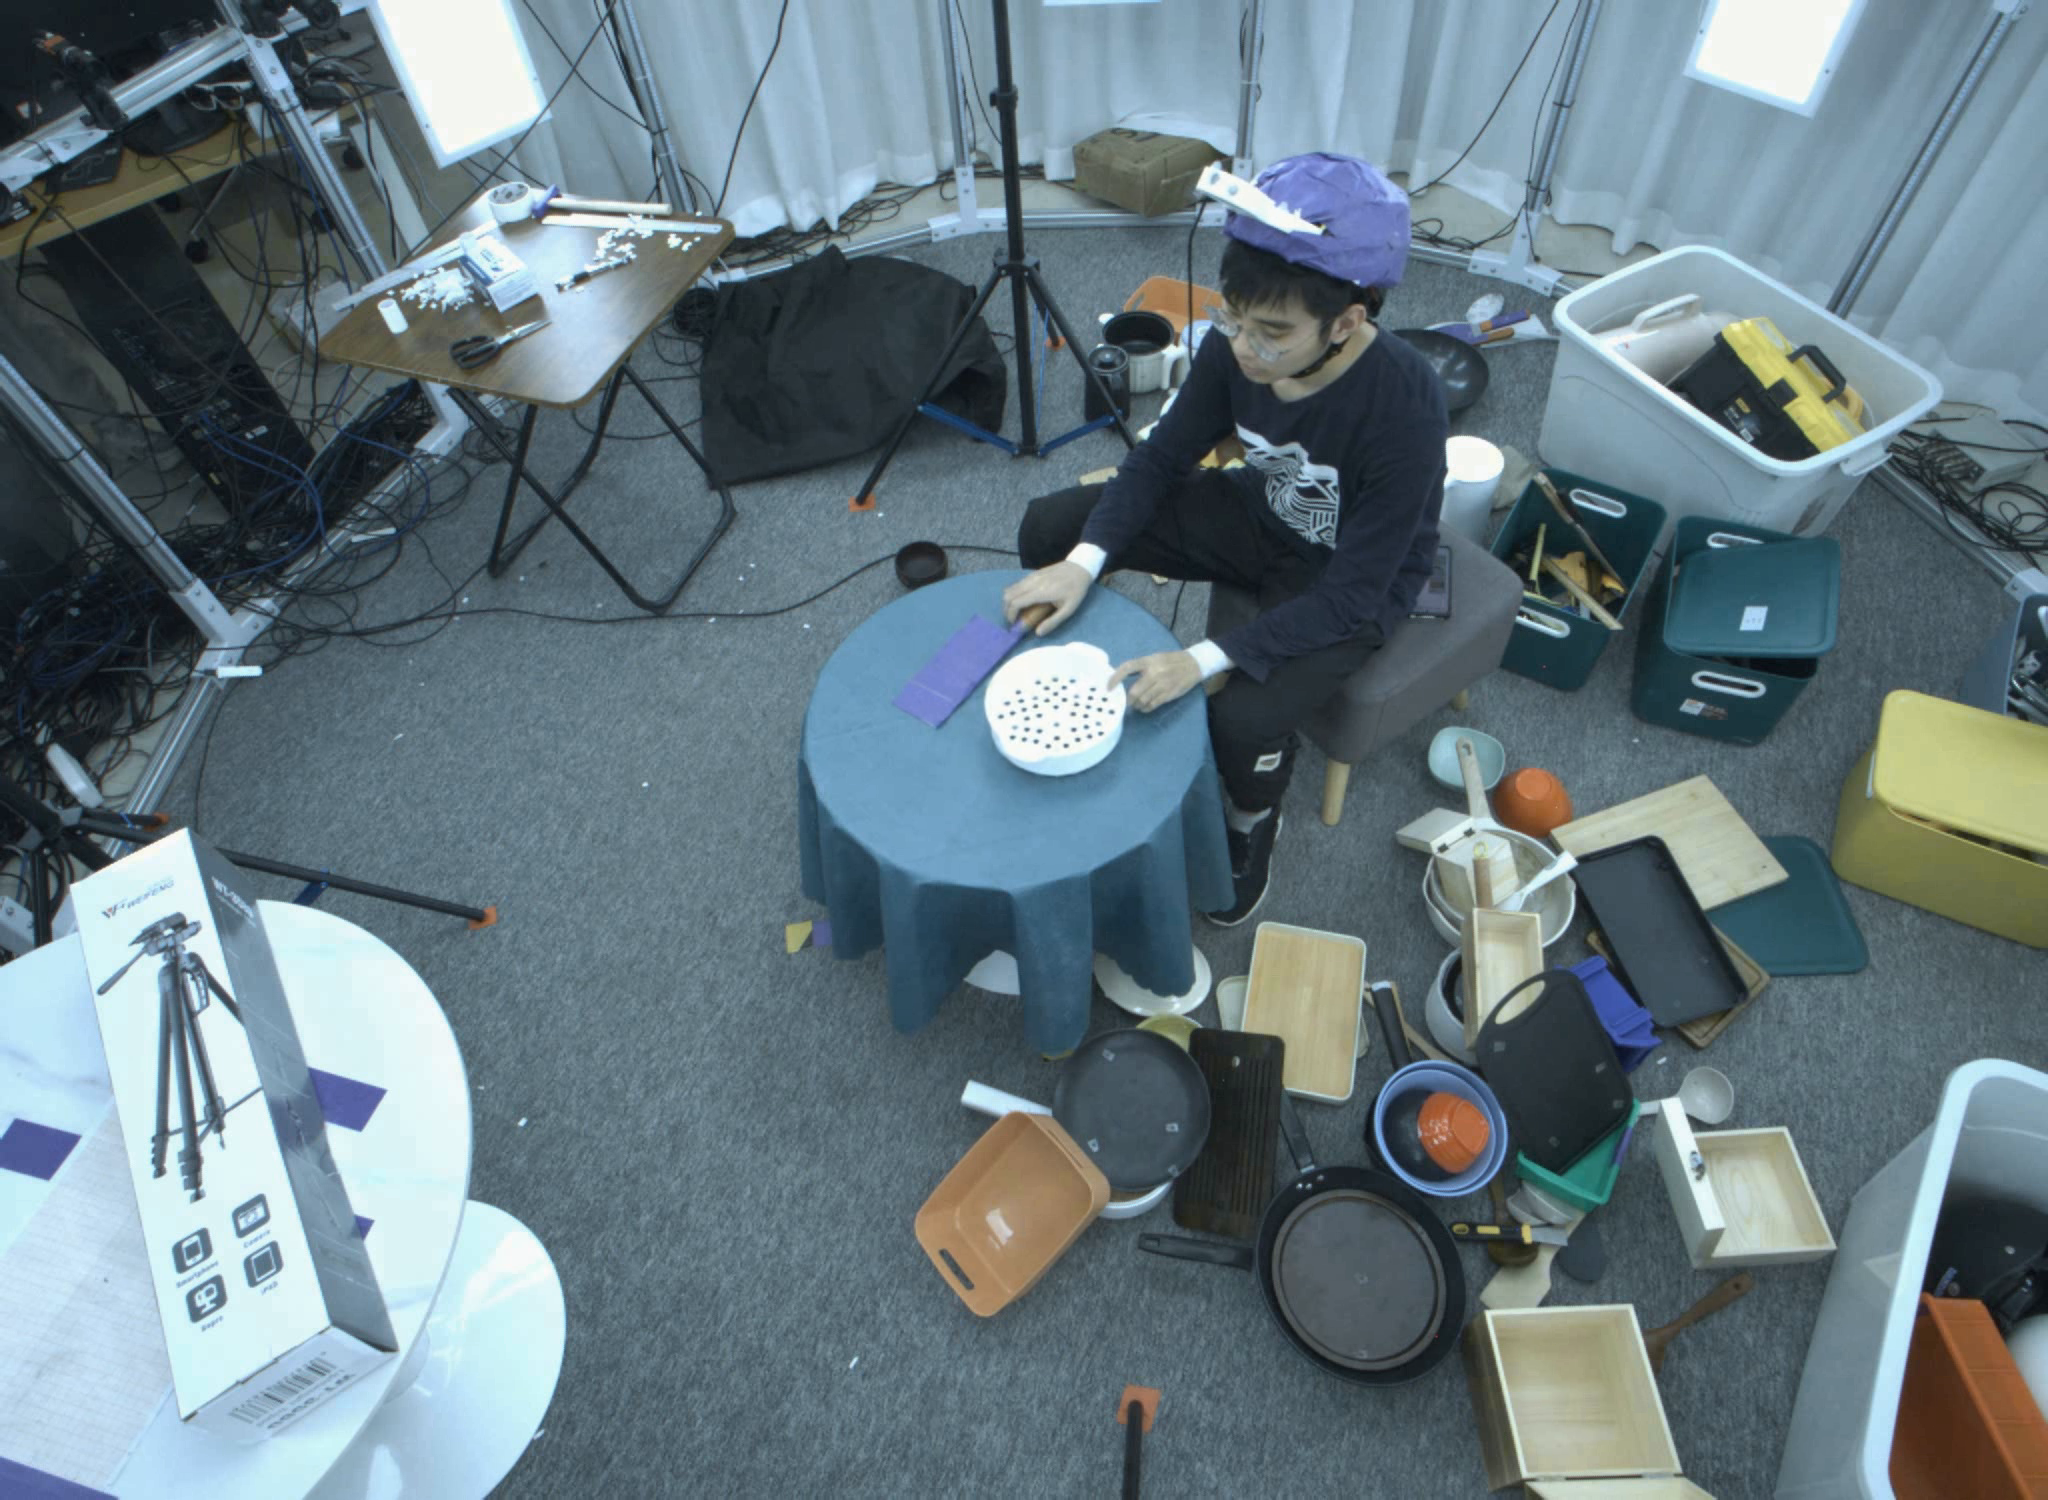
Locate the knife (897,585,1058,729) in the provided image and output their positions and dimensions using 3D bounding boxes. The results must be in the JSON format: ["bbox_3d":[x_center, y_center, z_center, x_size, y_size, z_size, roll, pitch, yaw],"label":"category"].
[{"bbox_3d":[-0.073,-0.161,1.895,0.102,0.032,0.317,30,61,20],"label":"knife"}]

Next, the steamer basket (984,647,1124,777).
[{"bbox_3d":[0.043,-0.052,1.791,0.199,0.070,0.231,24,55,16],"label":"steamer basket"}]
